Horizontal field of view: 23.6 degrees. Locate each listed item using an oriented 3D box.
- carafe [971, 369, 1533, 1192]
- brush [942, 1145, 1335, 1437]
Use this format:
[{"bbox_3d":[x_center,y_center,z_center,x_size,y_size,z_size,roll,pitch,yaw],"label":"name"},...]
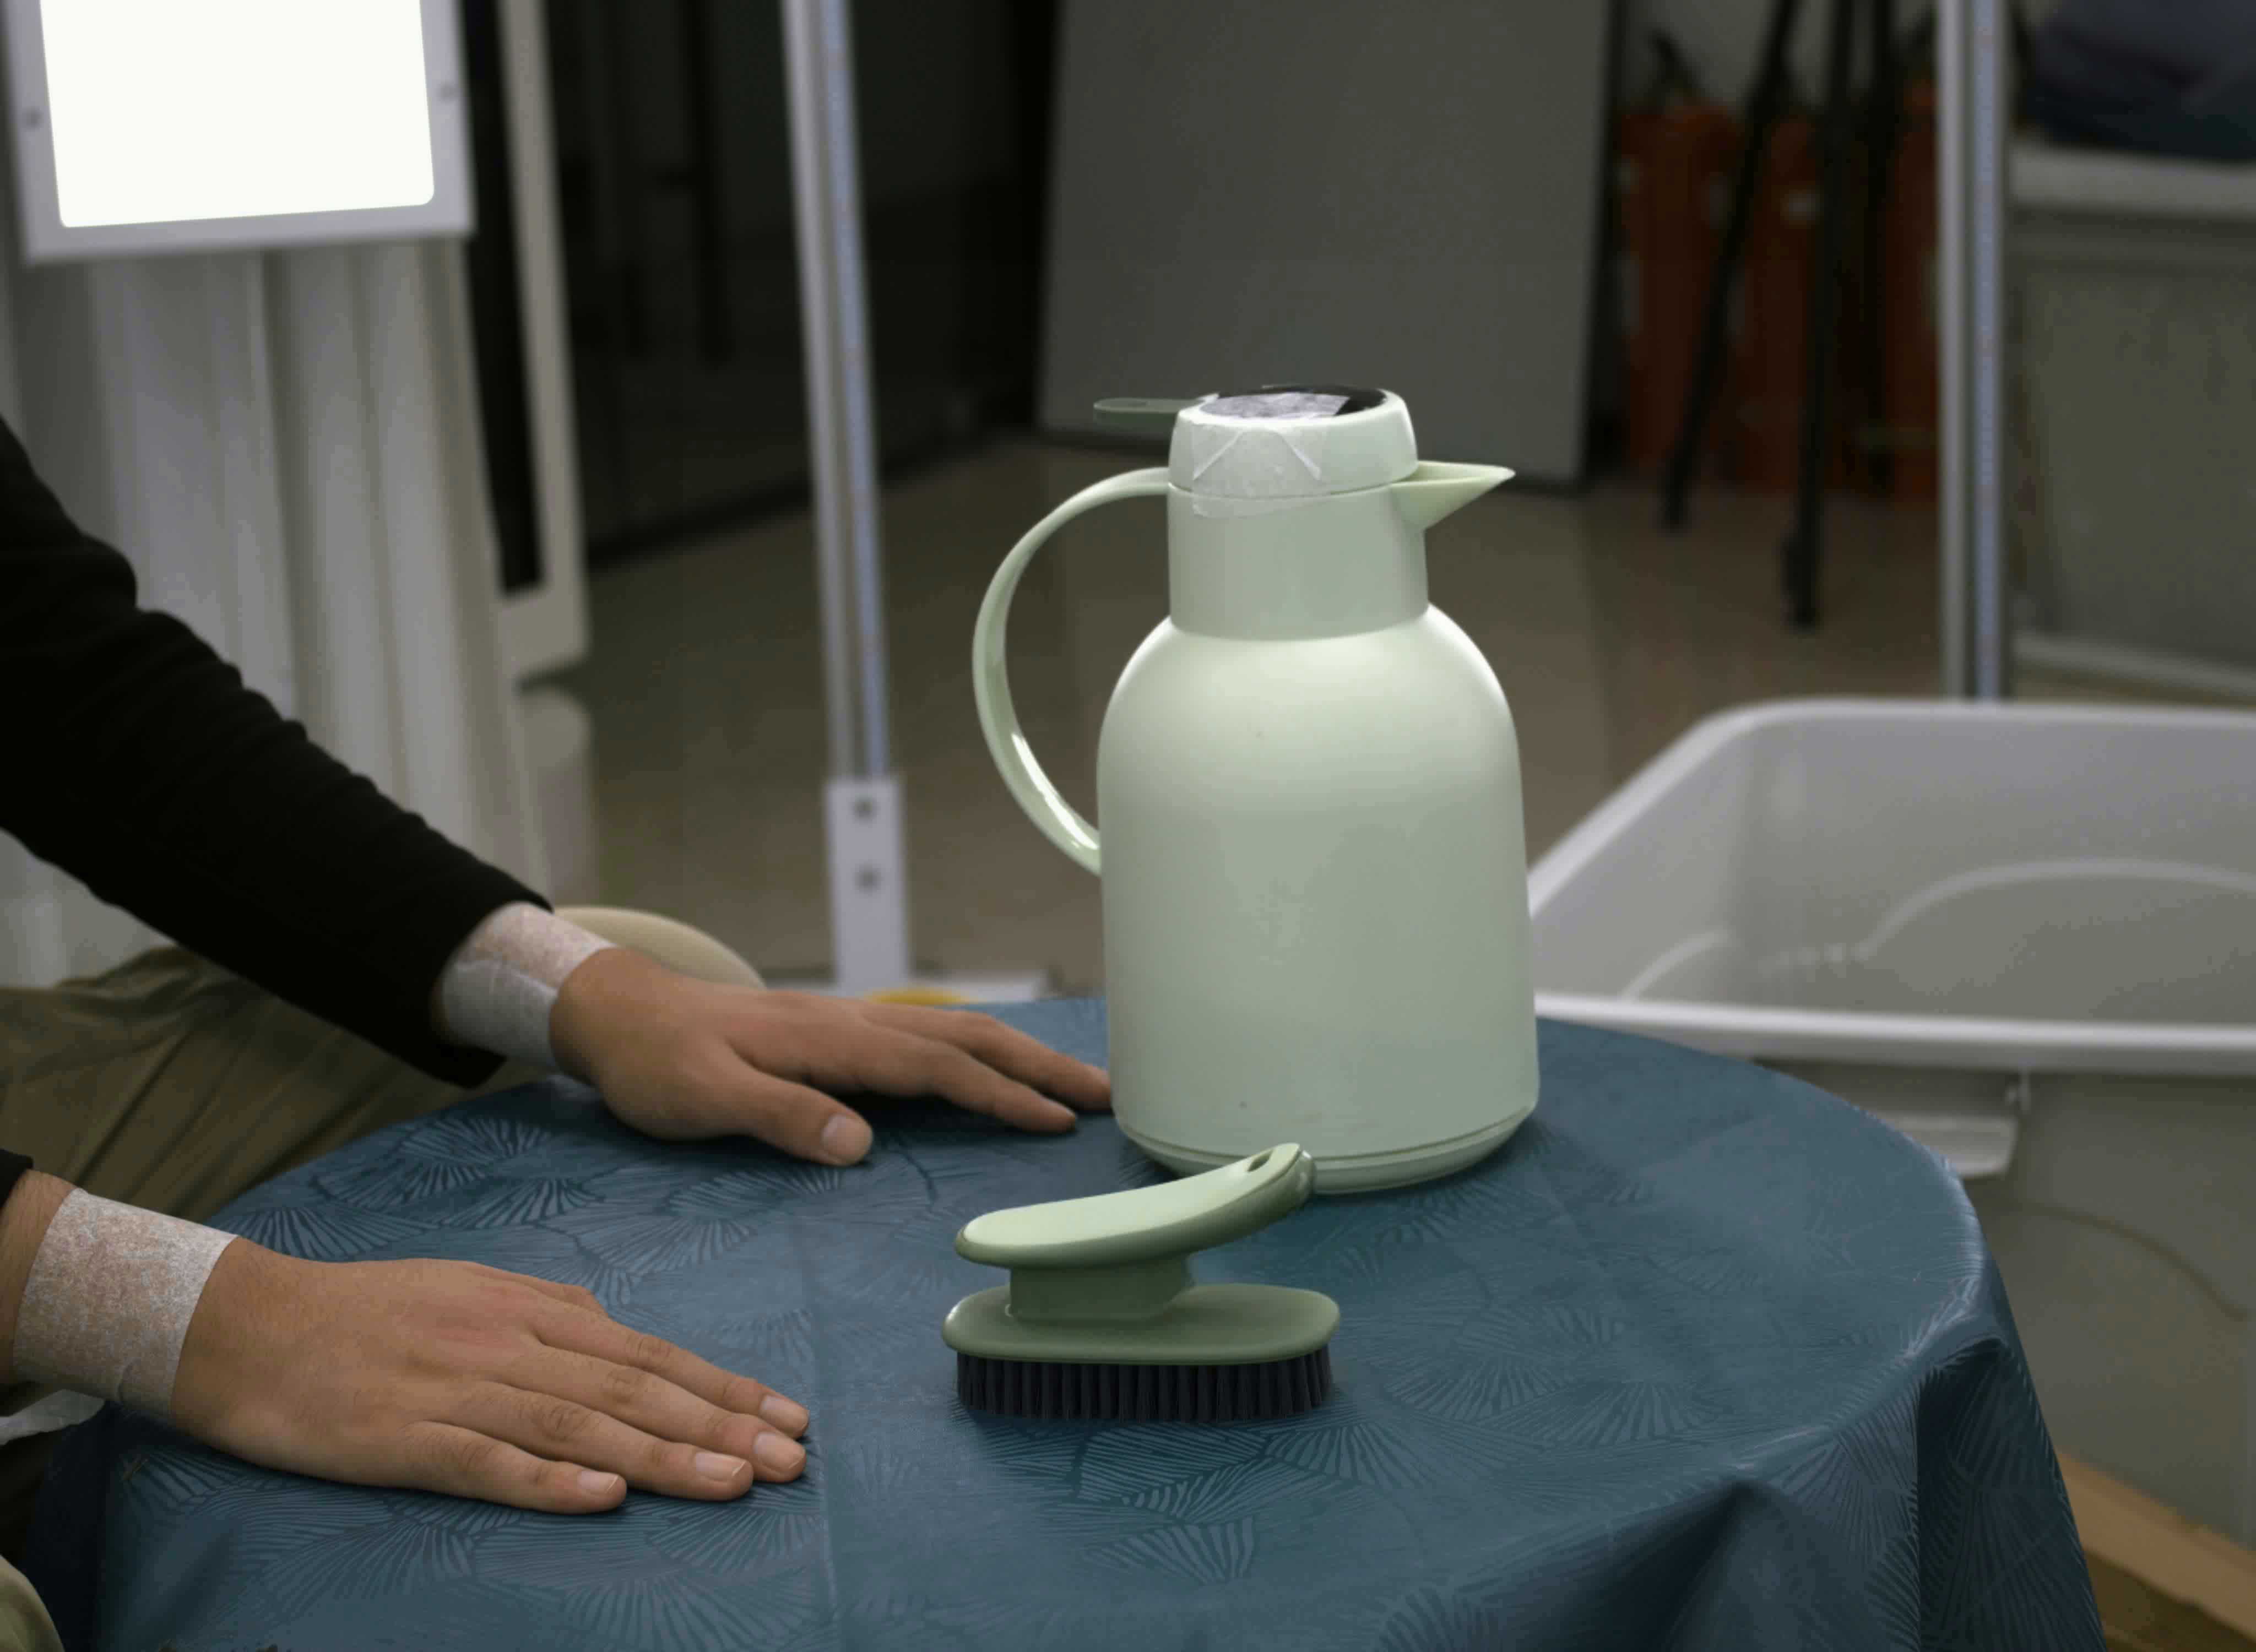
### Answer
[{"bbox_3d":[0.044,-0.019,1.782,0.186,0.259,0.143,-2,13,16],"label":"carafe"},{"bbox_3d":[0.004,0.144,1.582,0.123,0.076,0.059,-18,9,22],"label":"brush"}]
